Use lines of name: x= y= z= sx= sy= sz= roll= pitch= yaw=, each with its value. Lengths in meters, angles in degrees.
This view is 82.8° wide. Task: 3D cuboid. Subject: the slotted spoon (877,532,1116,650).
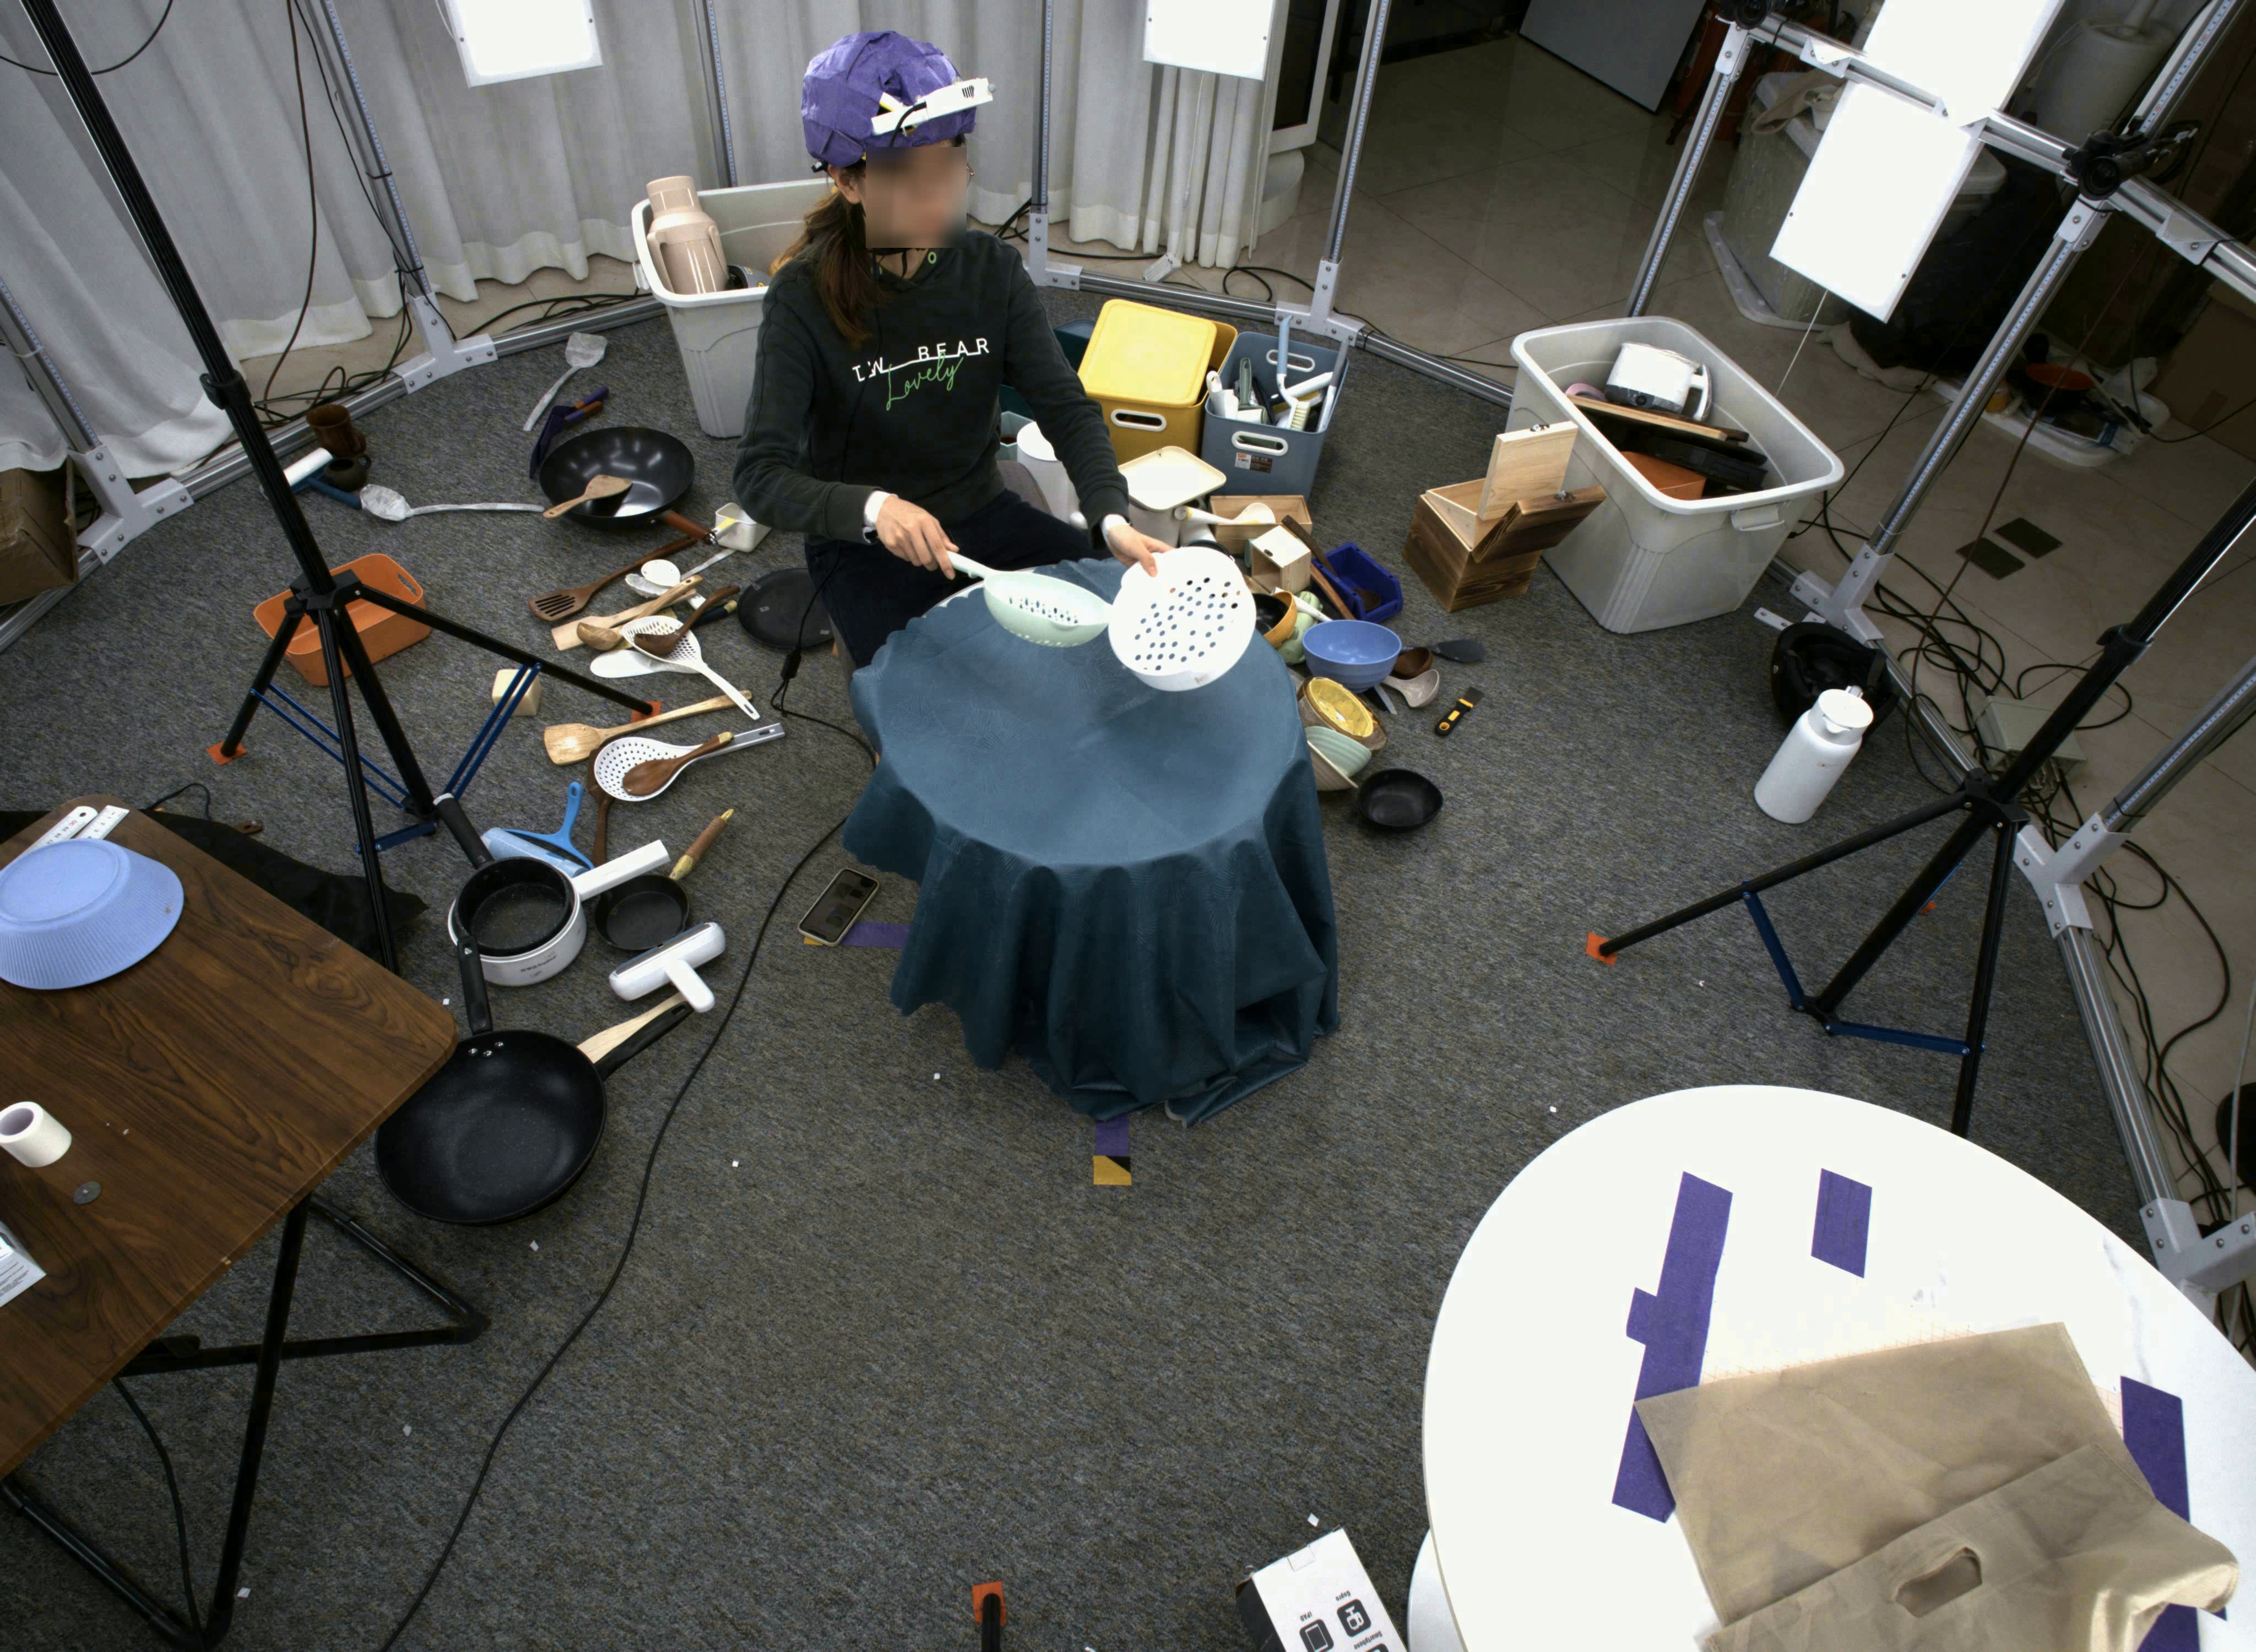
slotted spoon: x=-0.187 y=-0.323 z=1.703 sx=0.362 sy=0.074 sz=0.170 roll=34 pitch=29 yaw=18

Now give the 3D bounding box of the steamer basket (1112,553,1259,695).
steamer basket: x=0.080 y=-0.274 z=1.759 sx=0.201 sy=0.068 sz=0.236 roll=-38 pitch=52 yaw=3
